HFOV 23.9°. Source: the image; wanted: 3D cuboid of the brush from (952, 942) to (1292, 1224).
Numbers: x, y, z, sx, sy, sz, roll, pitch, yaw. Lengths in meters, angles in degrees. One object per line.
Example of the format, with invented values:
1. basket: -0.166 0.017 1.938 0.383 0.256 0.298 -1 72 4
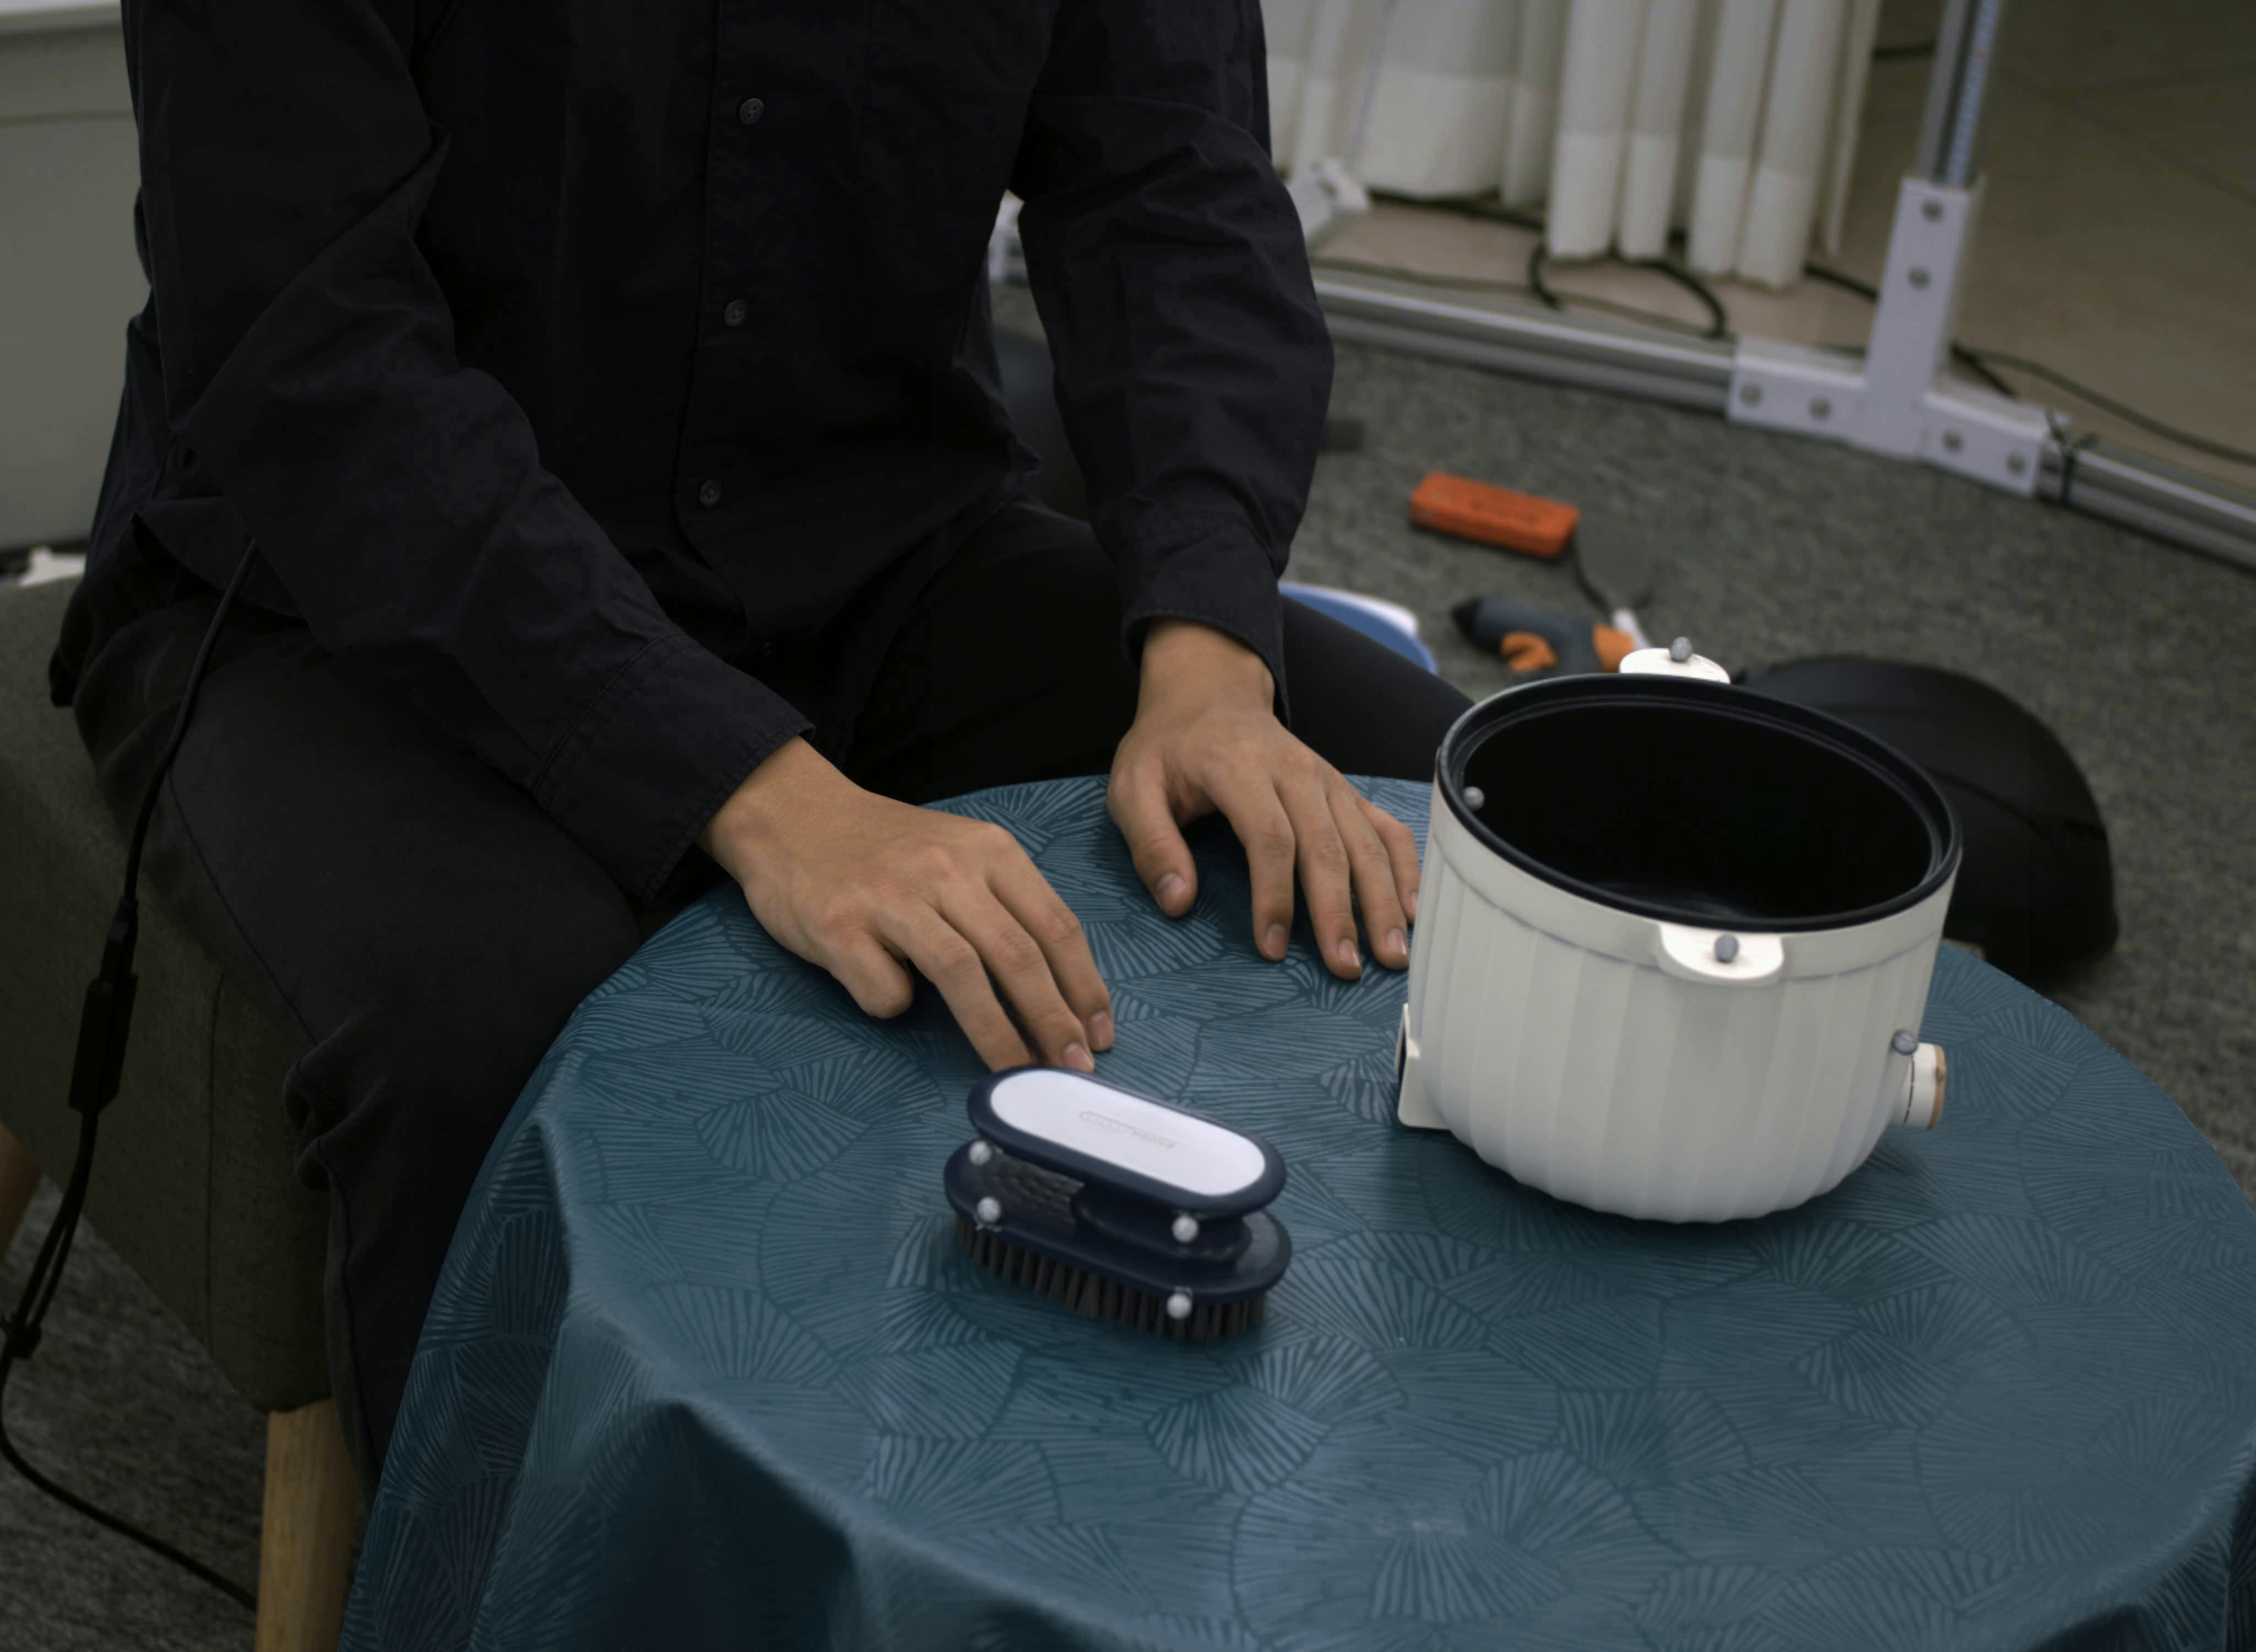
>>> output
1. brush: -0.002 0.087 1.766 0.122 0.061 0.068 24 33 24

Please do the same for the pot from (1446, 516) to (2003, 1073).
1. pot: 0.212 -0.003 1.876 0.190 0.142 0.242 3 28 -2
